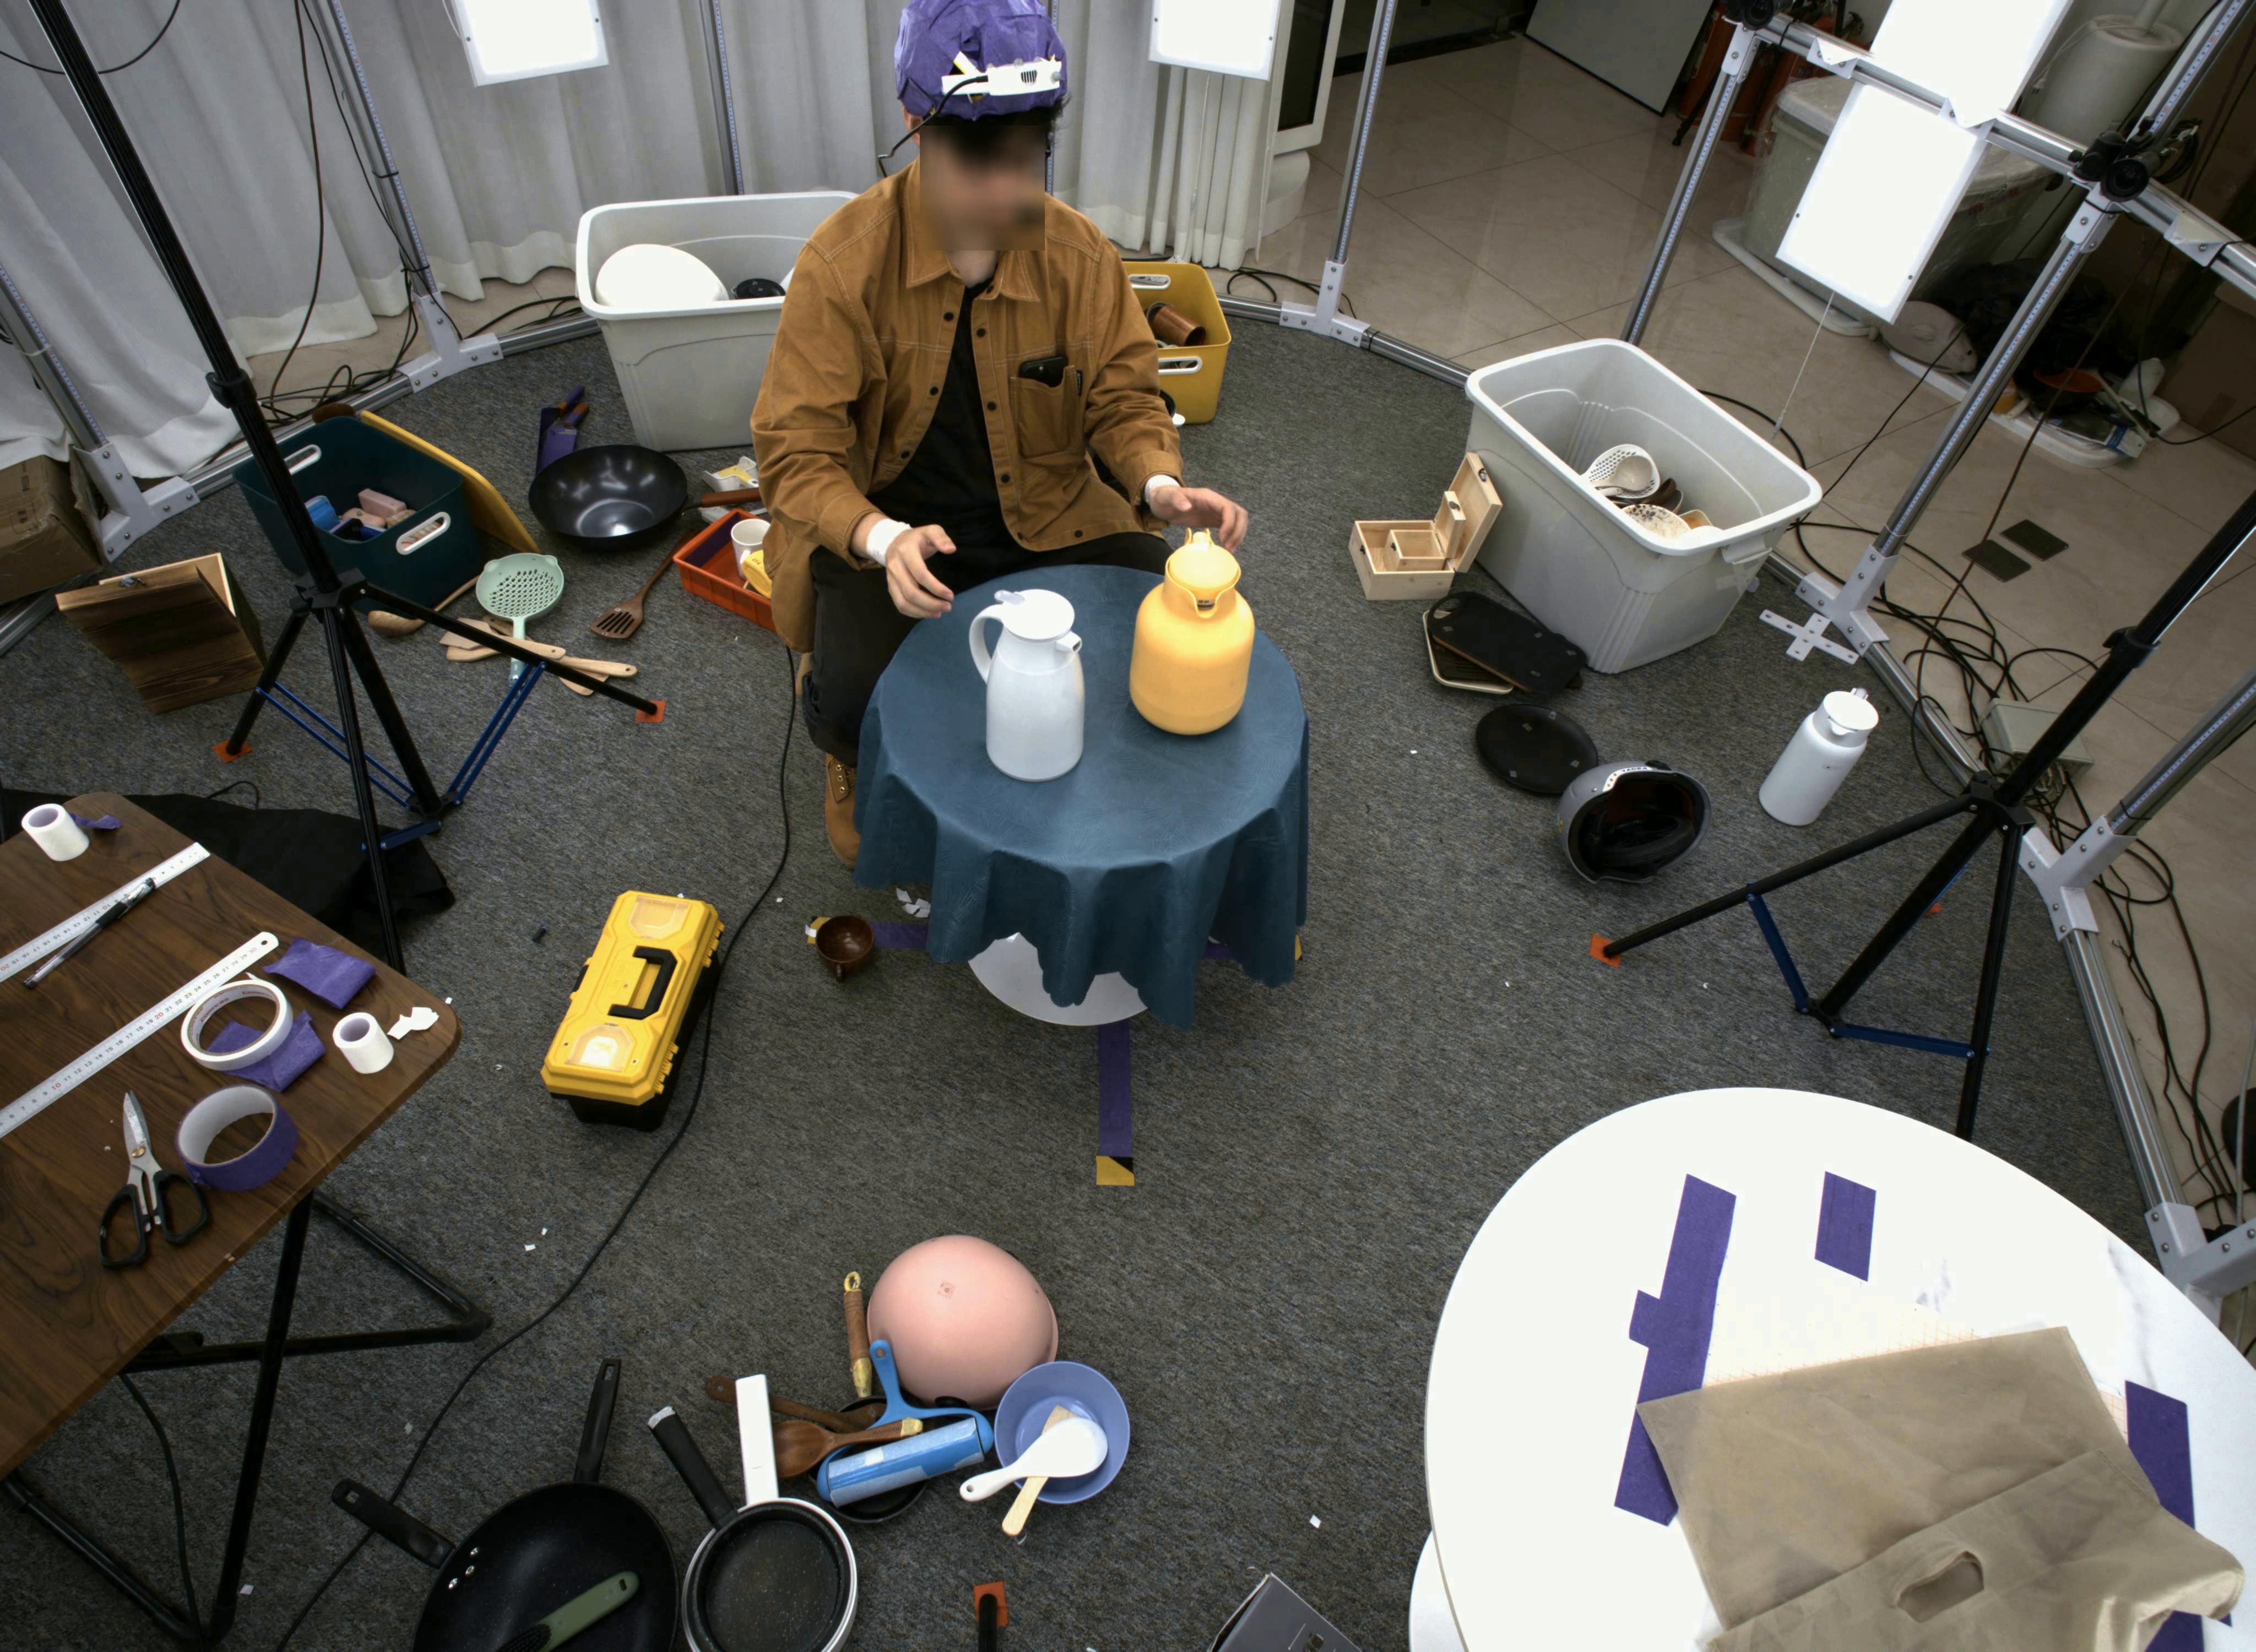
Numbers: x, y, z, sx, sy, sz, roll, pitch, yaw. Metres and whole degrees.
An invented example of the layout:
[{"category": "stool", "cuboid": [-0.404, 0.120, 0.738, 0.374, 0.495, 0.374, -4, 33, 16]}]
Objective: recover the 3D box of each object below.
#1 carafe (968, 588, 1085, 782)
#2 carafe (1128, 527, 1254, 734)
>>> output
[{"category": "carafe", "cuboid": [-0.136, -0.195, 1.669, 0.169, 0.242, 0.134, 29, 54, 21]}, {"category": "carafe", "cuboid": [0.089, -0.272, 1.742, 0.163, 0.254, 0.207, 4, 51, -3]}]
